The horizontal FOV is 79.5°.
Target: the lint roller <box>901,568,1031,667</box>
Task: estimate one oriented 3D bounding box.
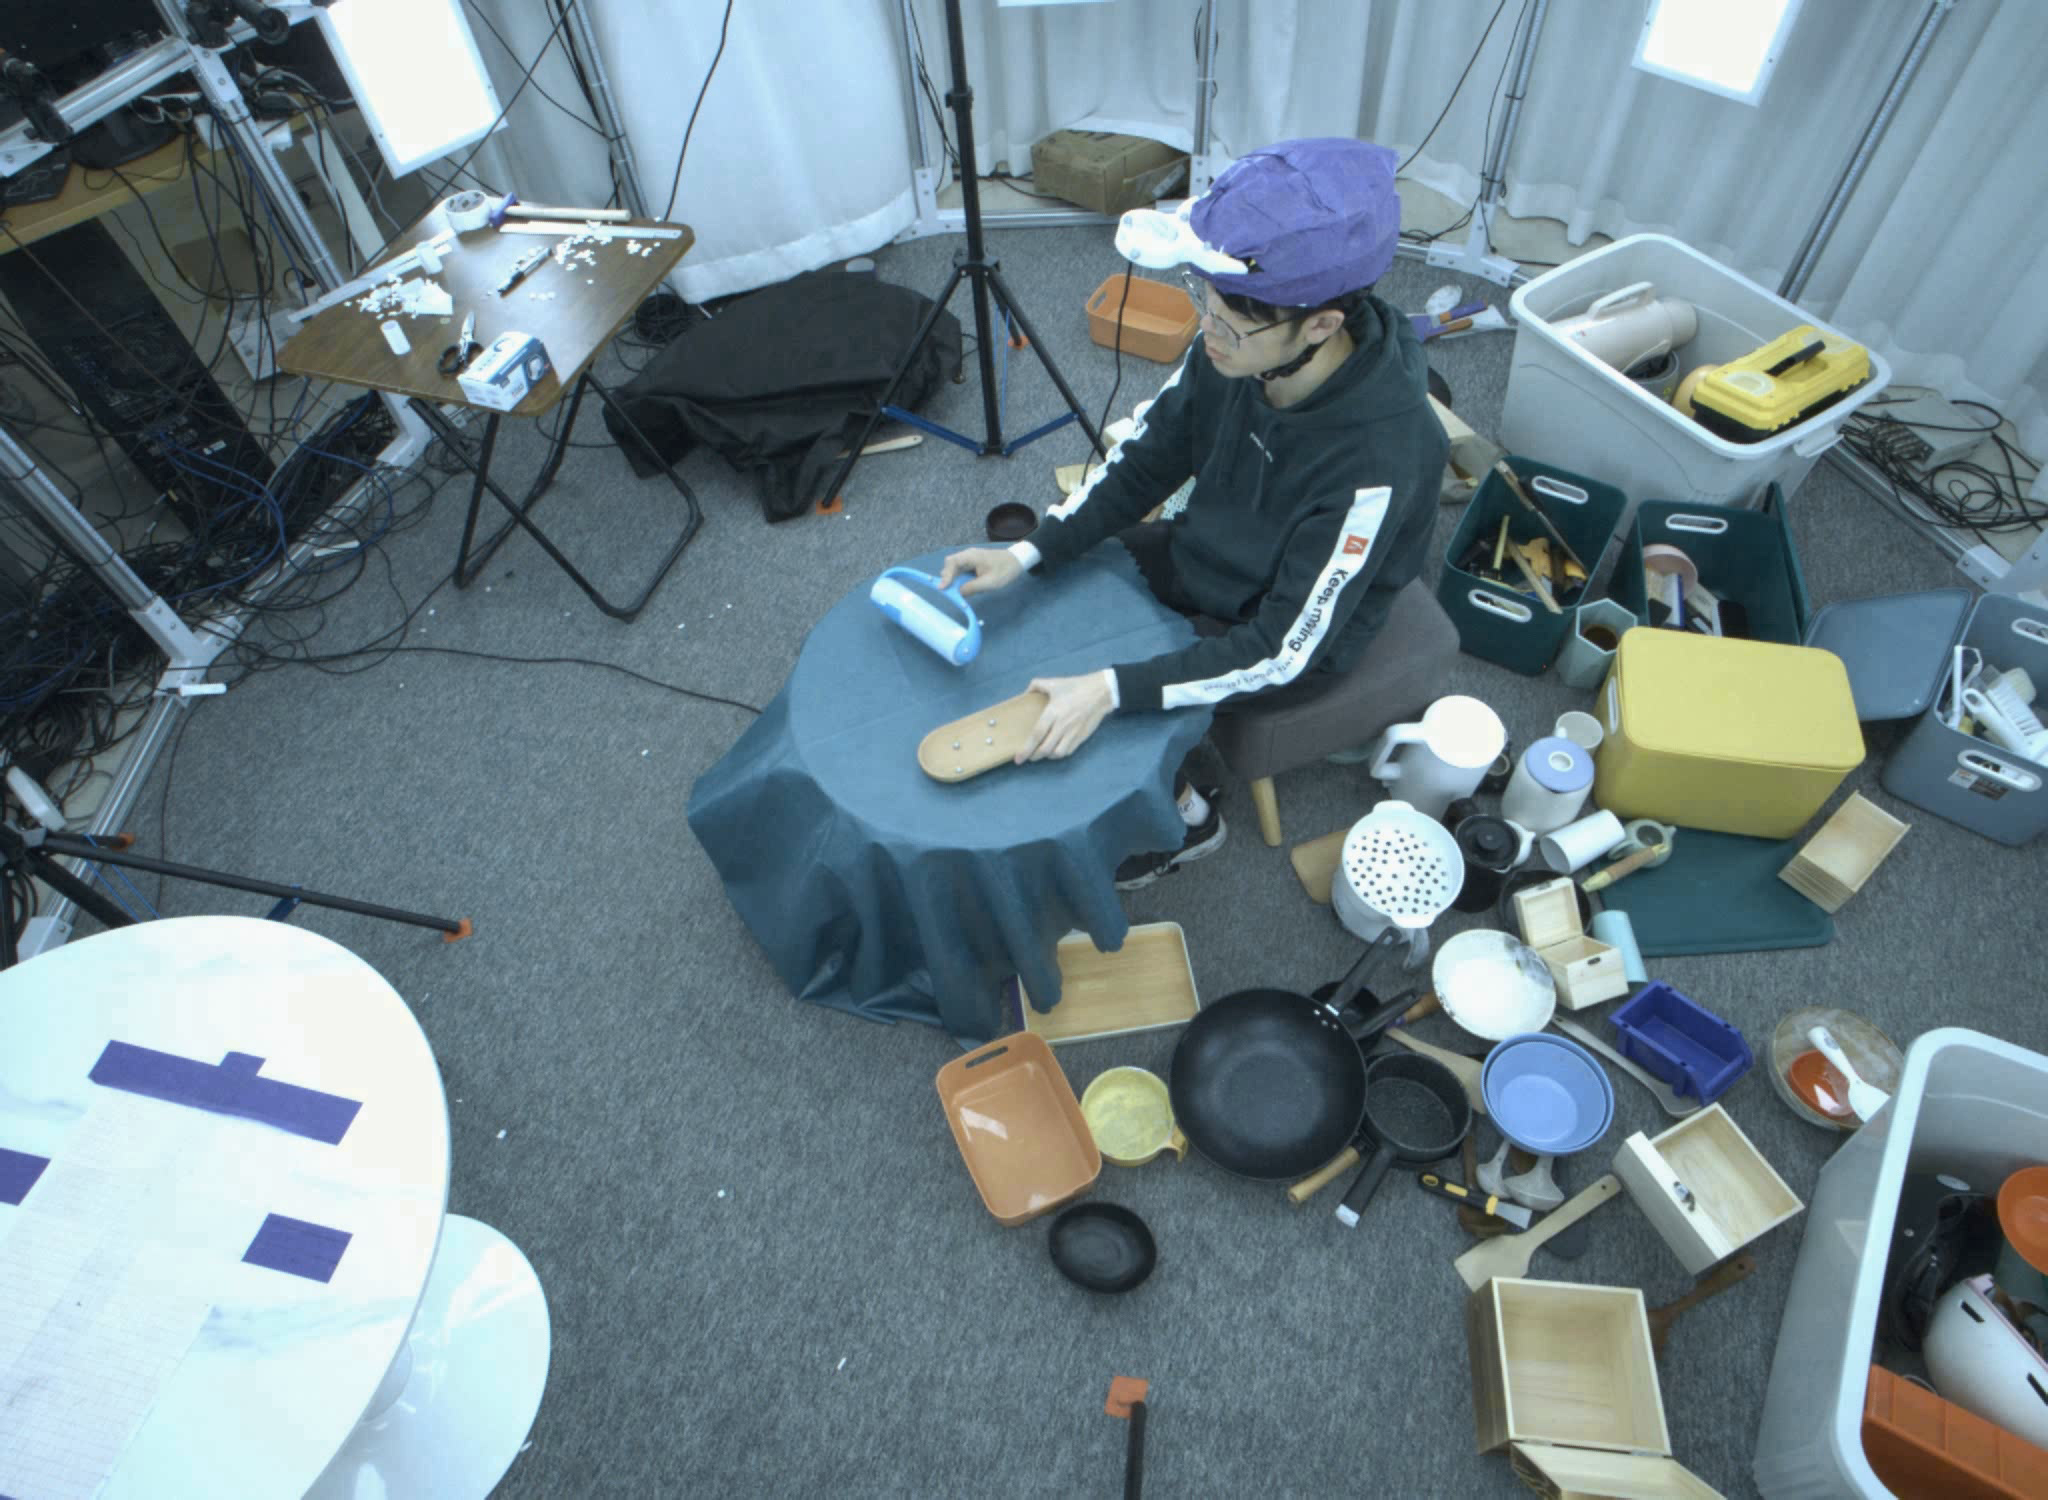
[{"bbox_3d":[-0.064,-0.231,1.869,0.224,0.069,0.181,35,63,30],"label":"lint roller"}]

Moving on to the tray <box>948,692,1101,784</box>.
[{"bbox_3d":[0.002,-0.017,1.768,0.233,0.020,0.100,-21,54,-13],"label":"tray"}]
